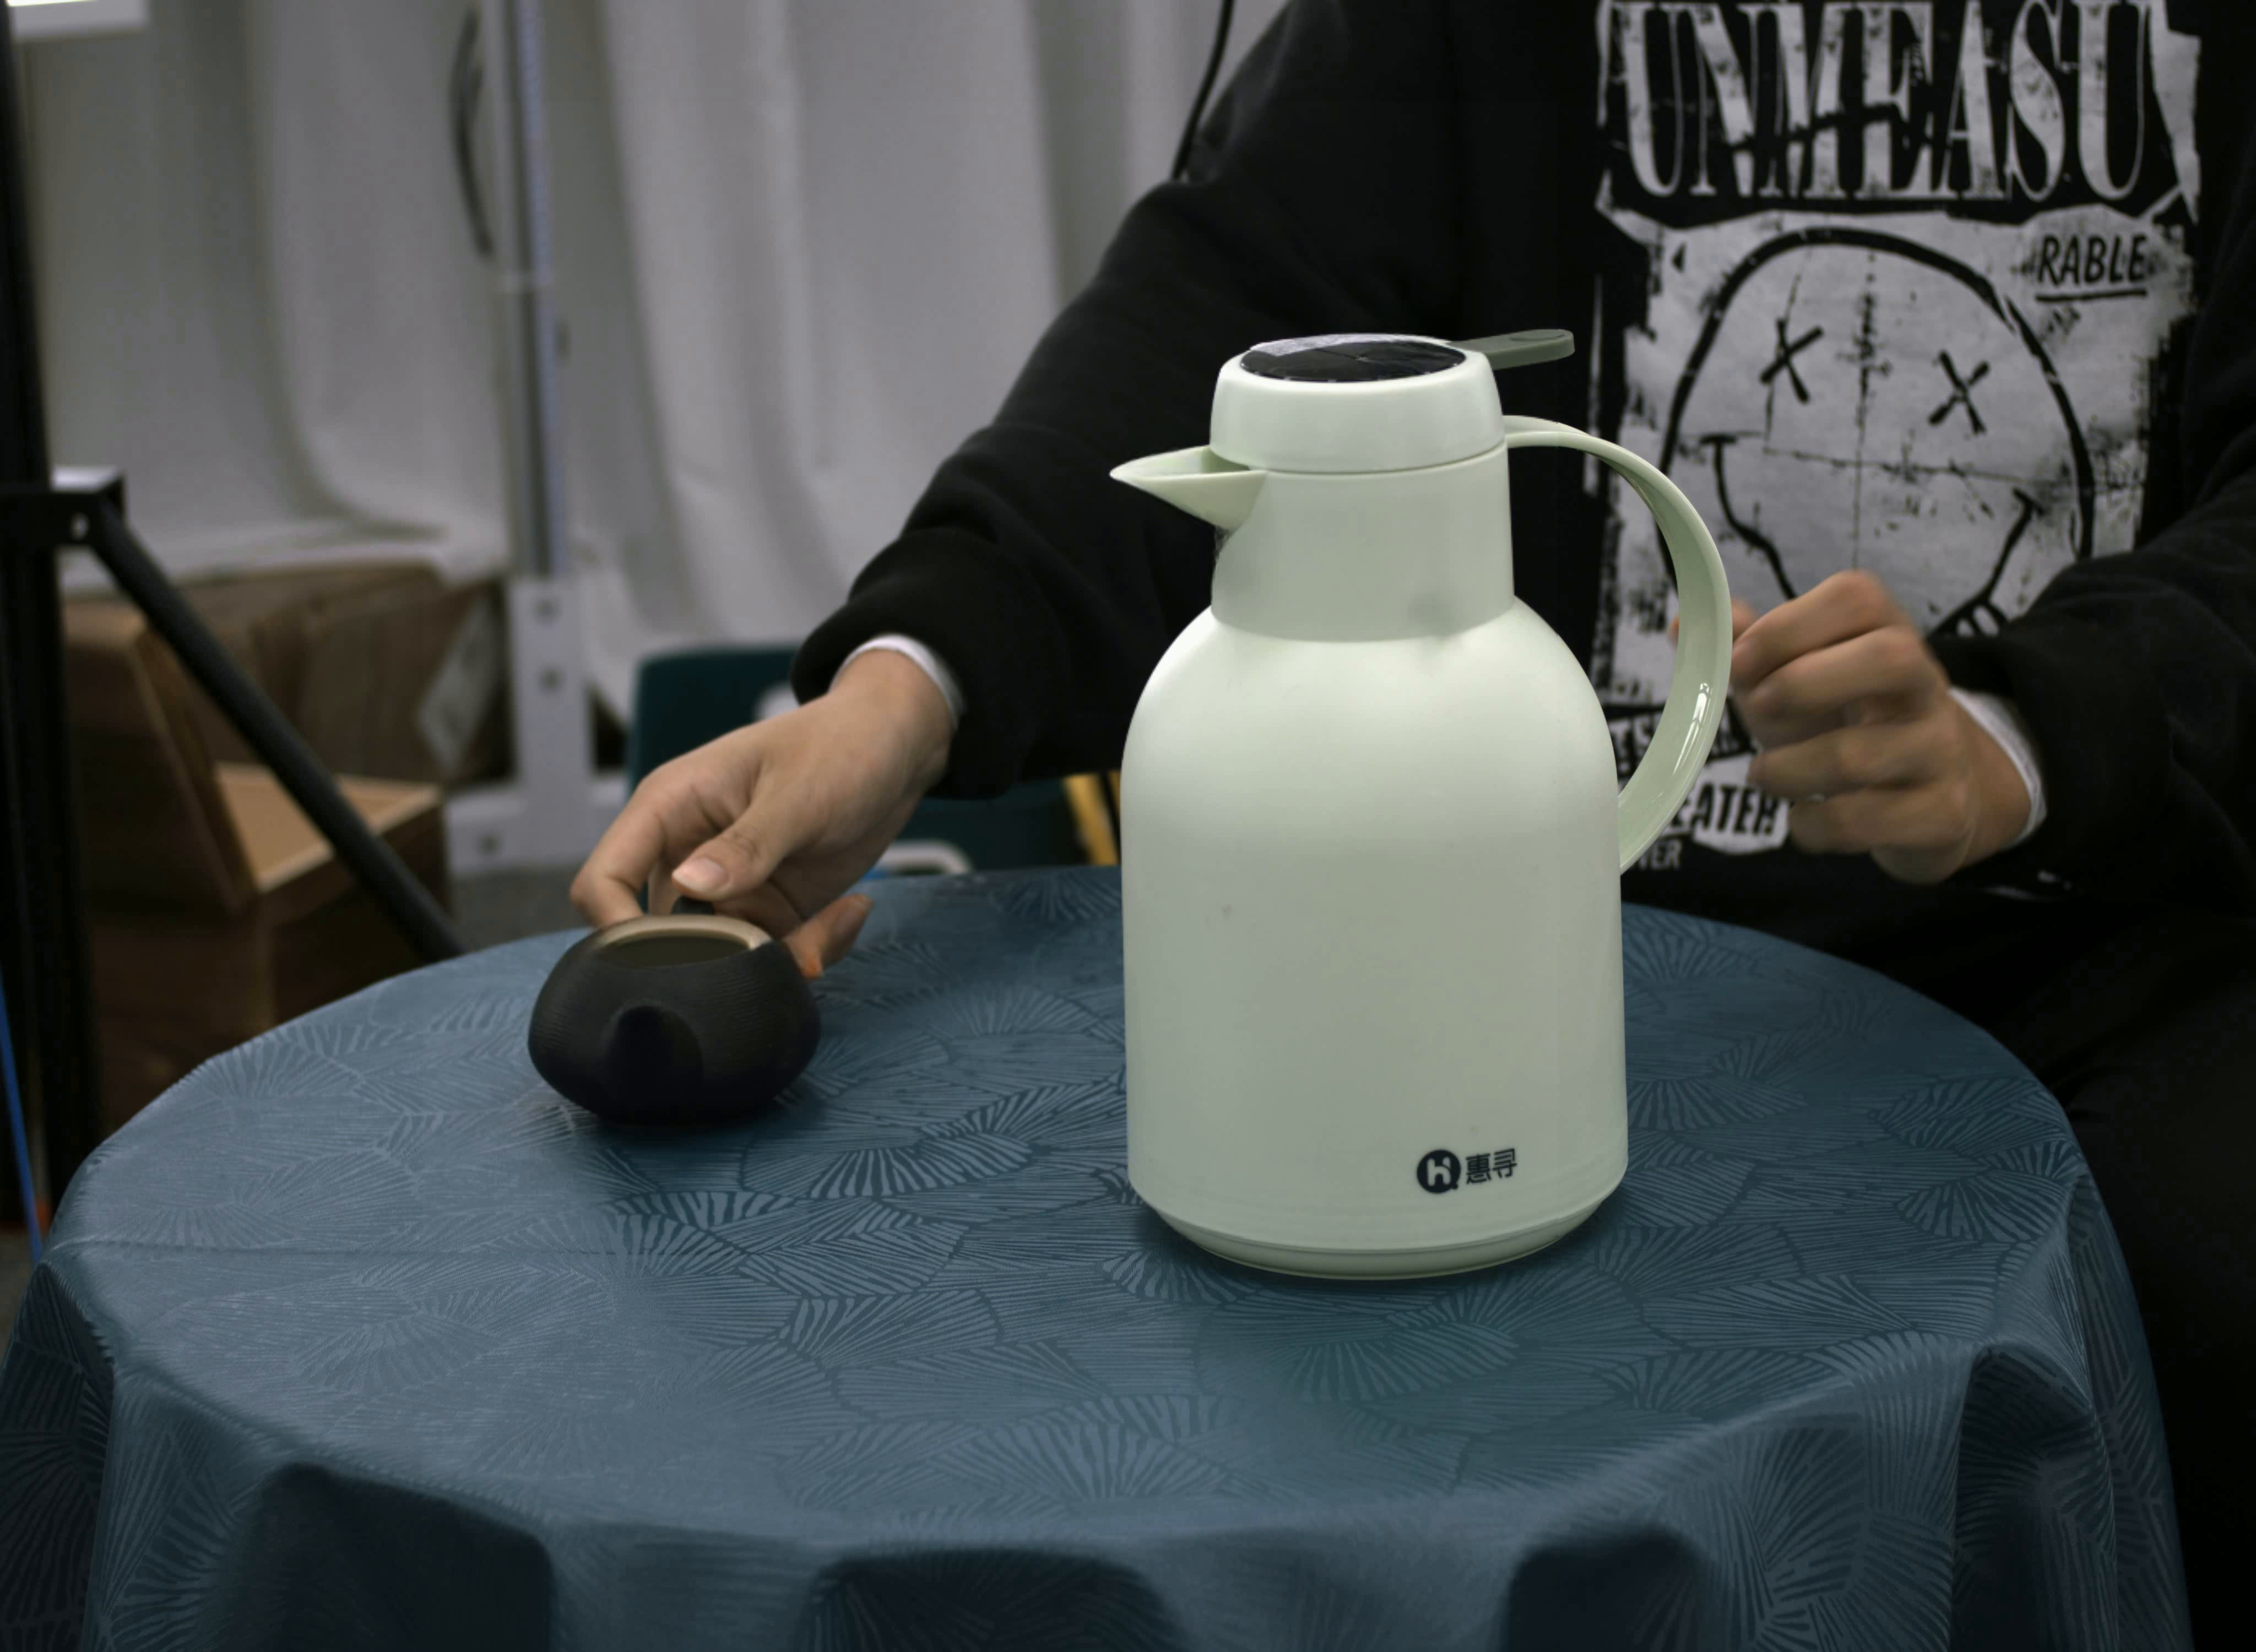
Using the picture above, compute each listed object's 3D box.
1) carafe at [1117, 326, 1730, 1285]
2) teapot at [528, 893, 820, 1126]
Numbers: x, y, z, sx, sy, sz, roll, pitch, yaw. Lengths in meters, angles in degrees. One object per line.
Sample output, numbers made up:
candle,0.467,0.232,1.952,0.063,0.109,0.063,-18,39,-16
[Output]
carafe,0.081,-0.010,1.502,0.183,0.257,0.147,-4,13,-21
teapot,-0.140,0.060,1.650,0.091,0.053,0.133,1,16,5
